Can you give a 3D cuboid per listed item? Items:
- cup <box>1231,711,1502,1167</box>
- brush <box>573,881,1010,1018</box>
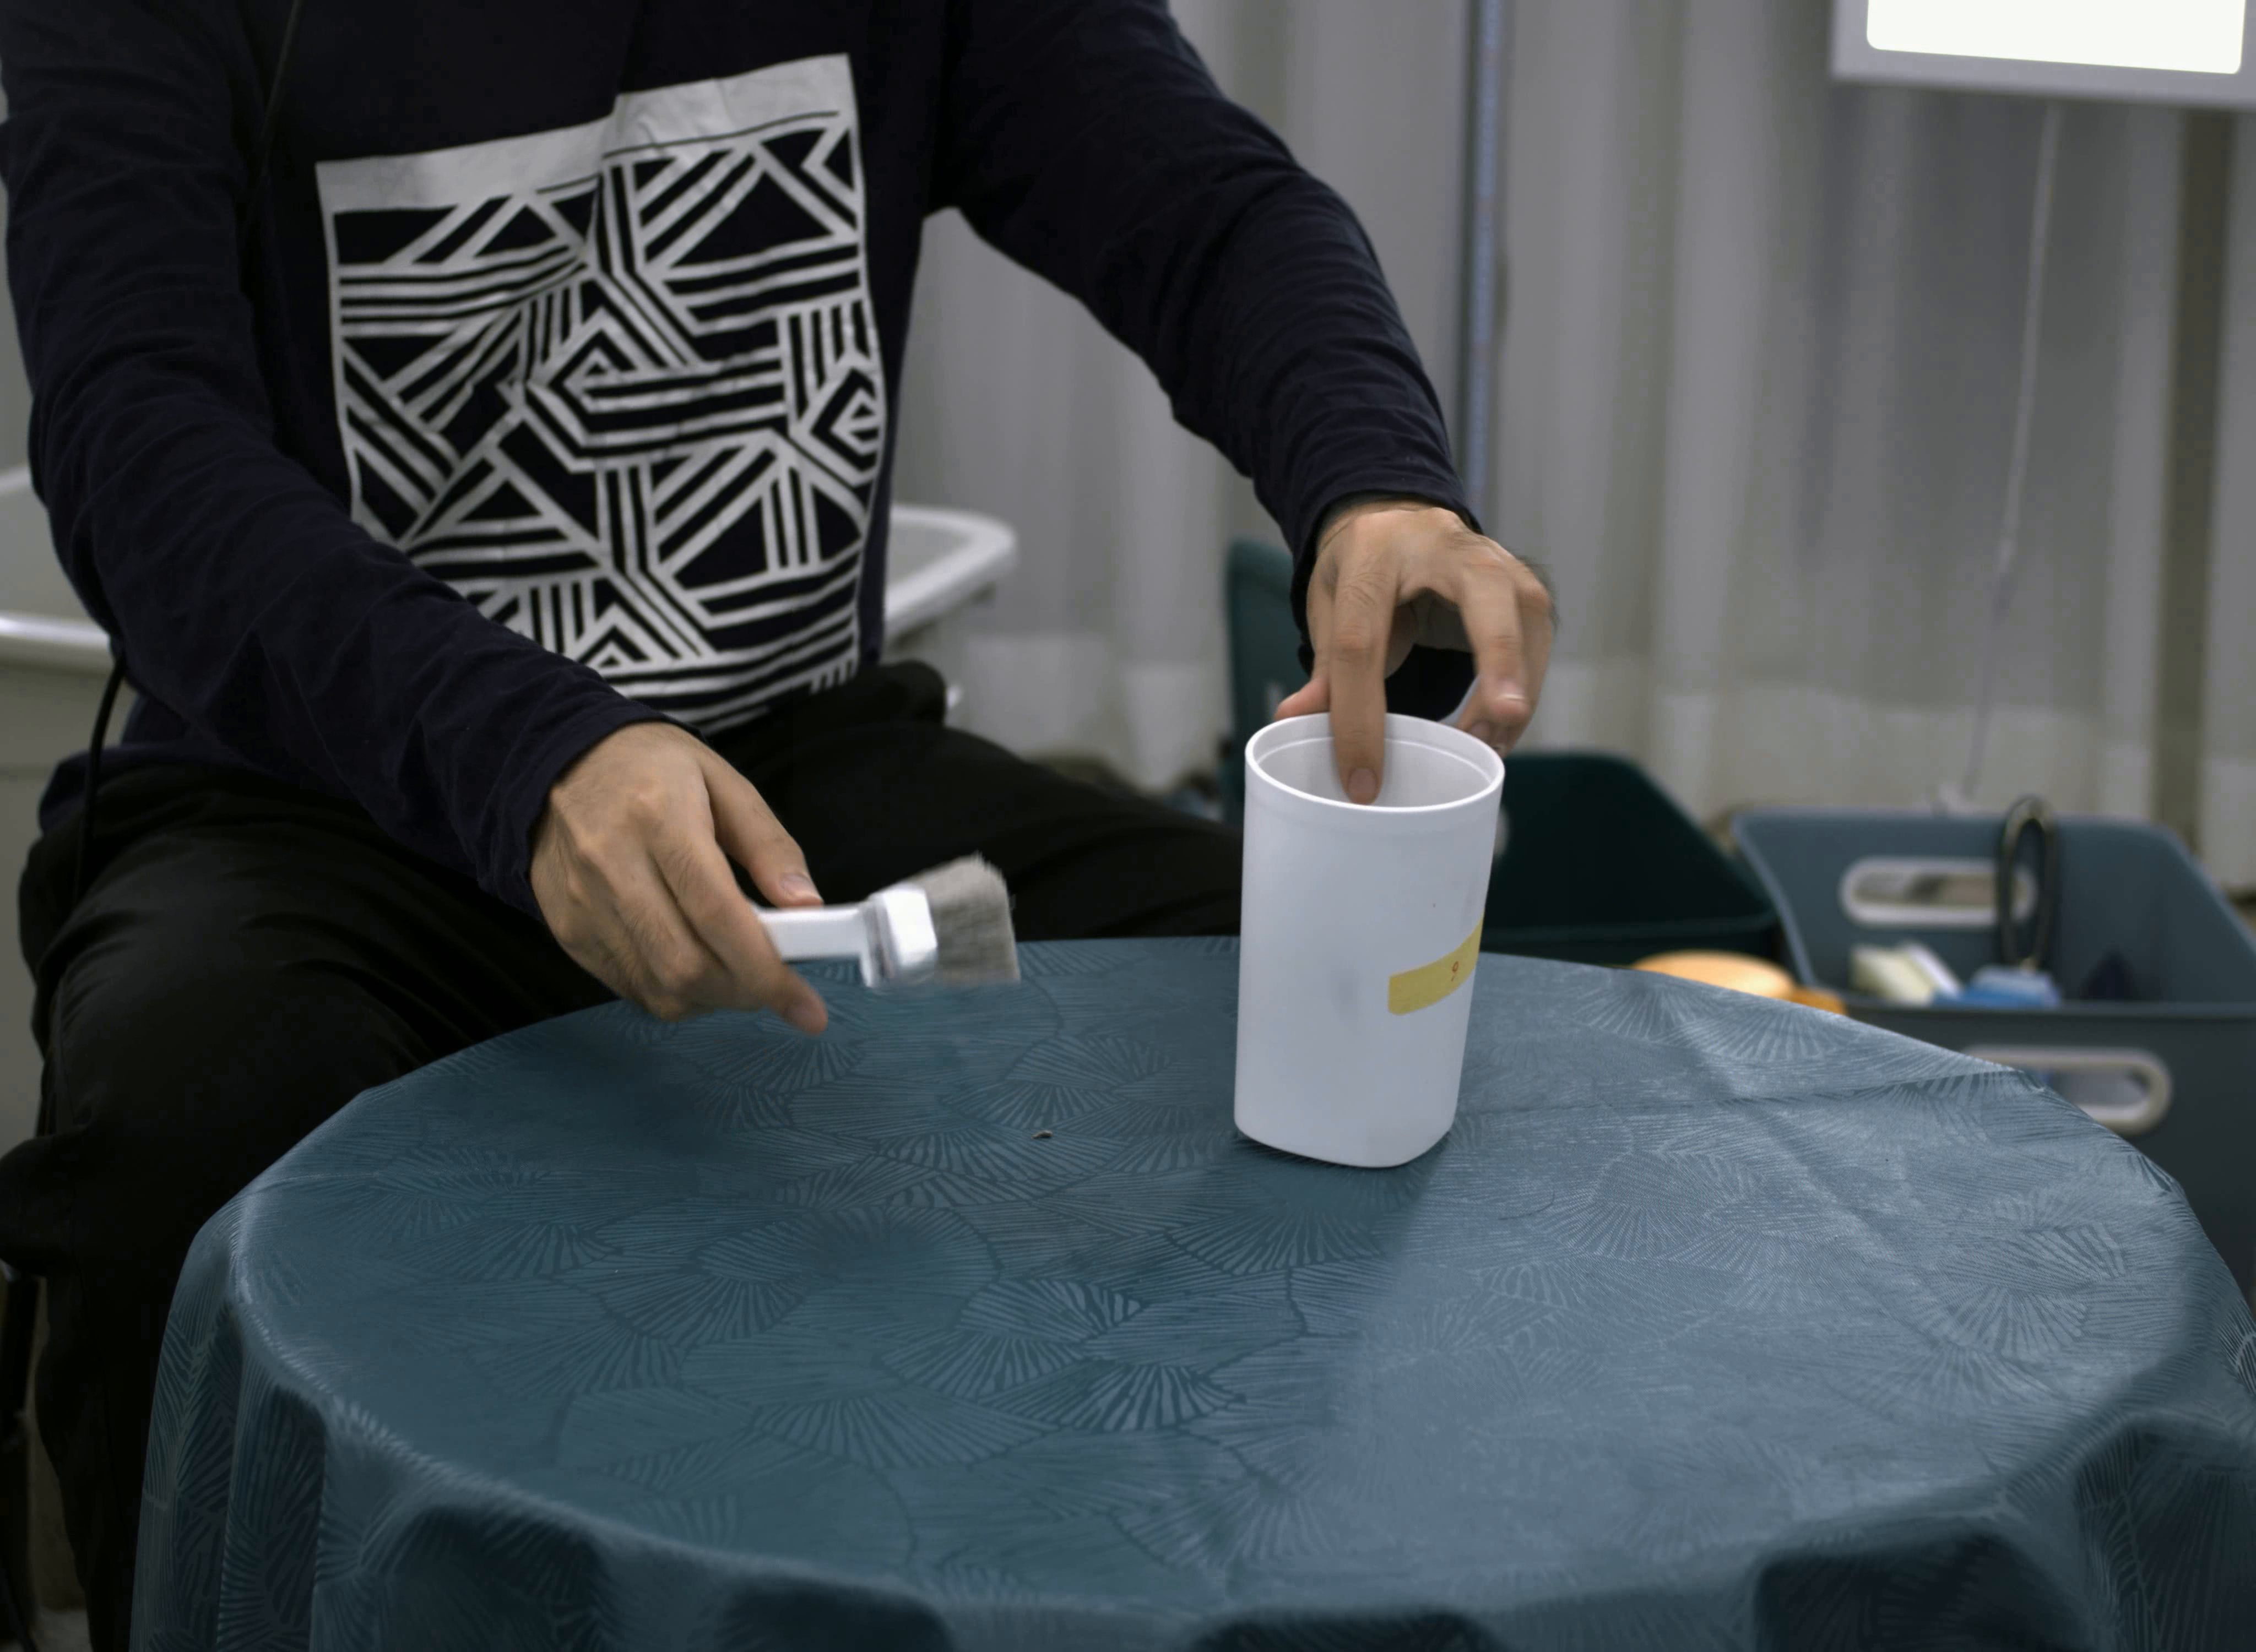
[{"bbox_3d":[0.072,0.036,1.655,0.081,0.126,0.081,3,22,-1],"label":"cup"},{"bbox_3d":[-0.104,0.039,1.644,0.050,0.034,0.241,-14,5,-30],"label":"brush"}]
